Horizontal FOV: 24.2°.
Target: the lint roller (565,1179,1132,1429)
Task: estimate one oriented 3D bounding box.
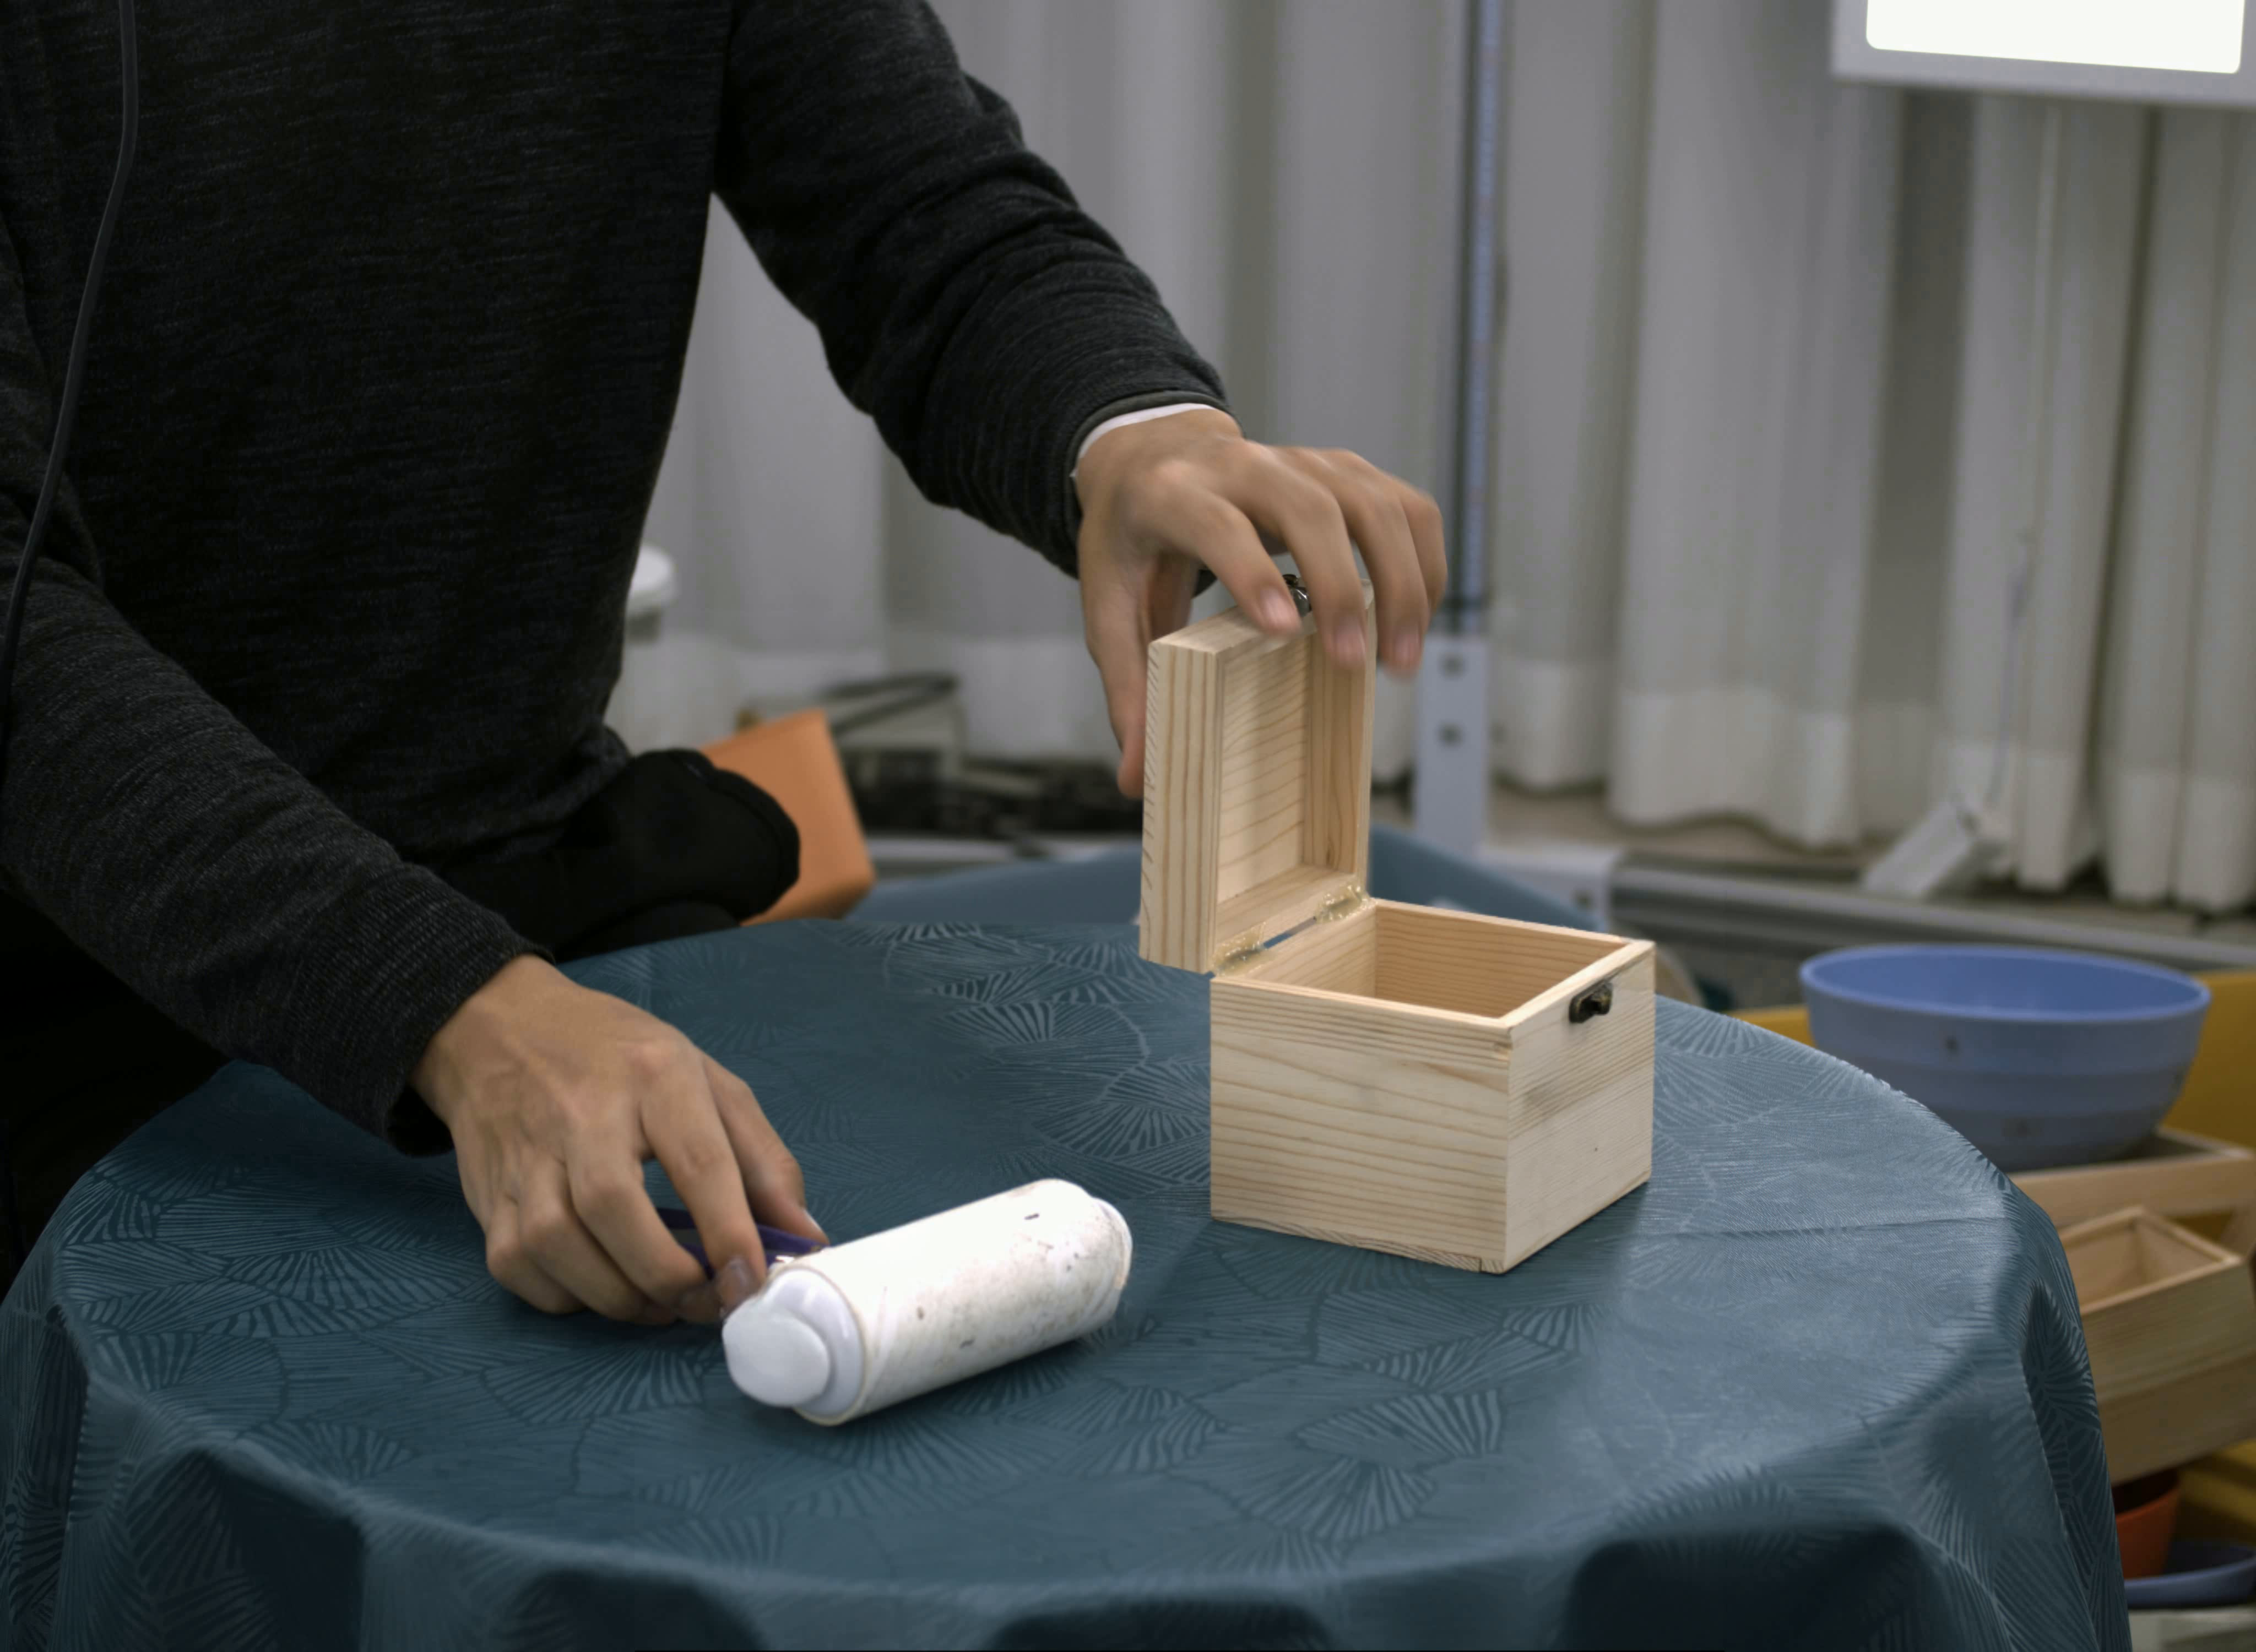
[{"bbox_3d":[-0.098,0.118,1.506,0.133,0.050,0.178,-16,24,-42],"label":"lint roller"}]

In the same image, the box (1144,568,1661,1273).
[{"bbox_3d":[0.086,0.025,1.593,0.132,0.186,0.103,9,18,29],"label":"box"}]
